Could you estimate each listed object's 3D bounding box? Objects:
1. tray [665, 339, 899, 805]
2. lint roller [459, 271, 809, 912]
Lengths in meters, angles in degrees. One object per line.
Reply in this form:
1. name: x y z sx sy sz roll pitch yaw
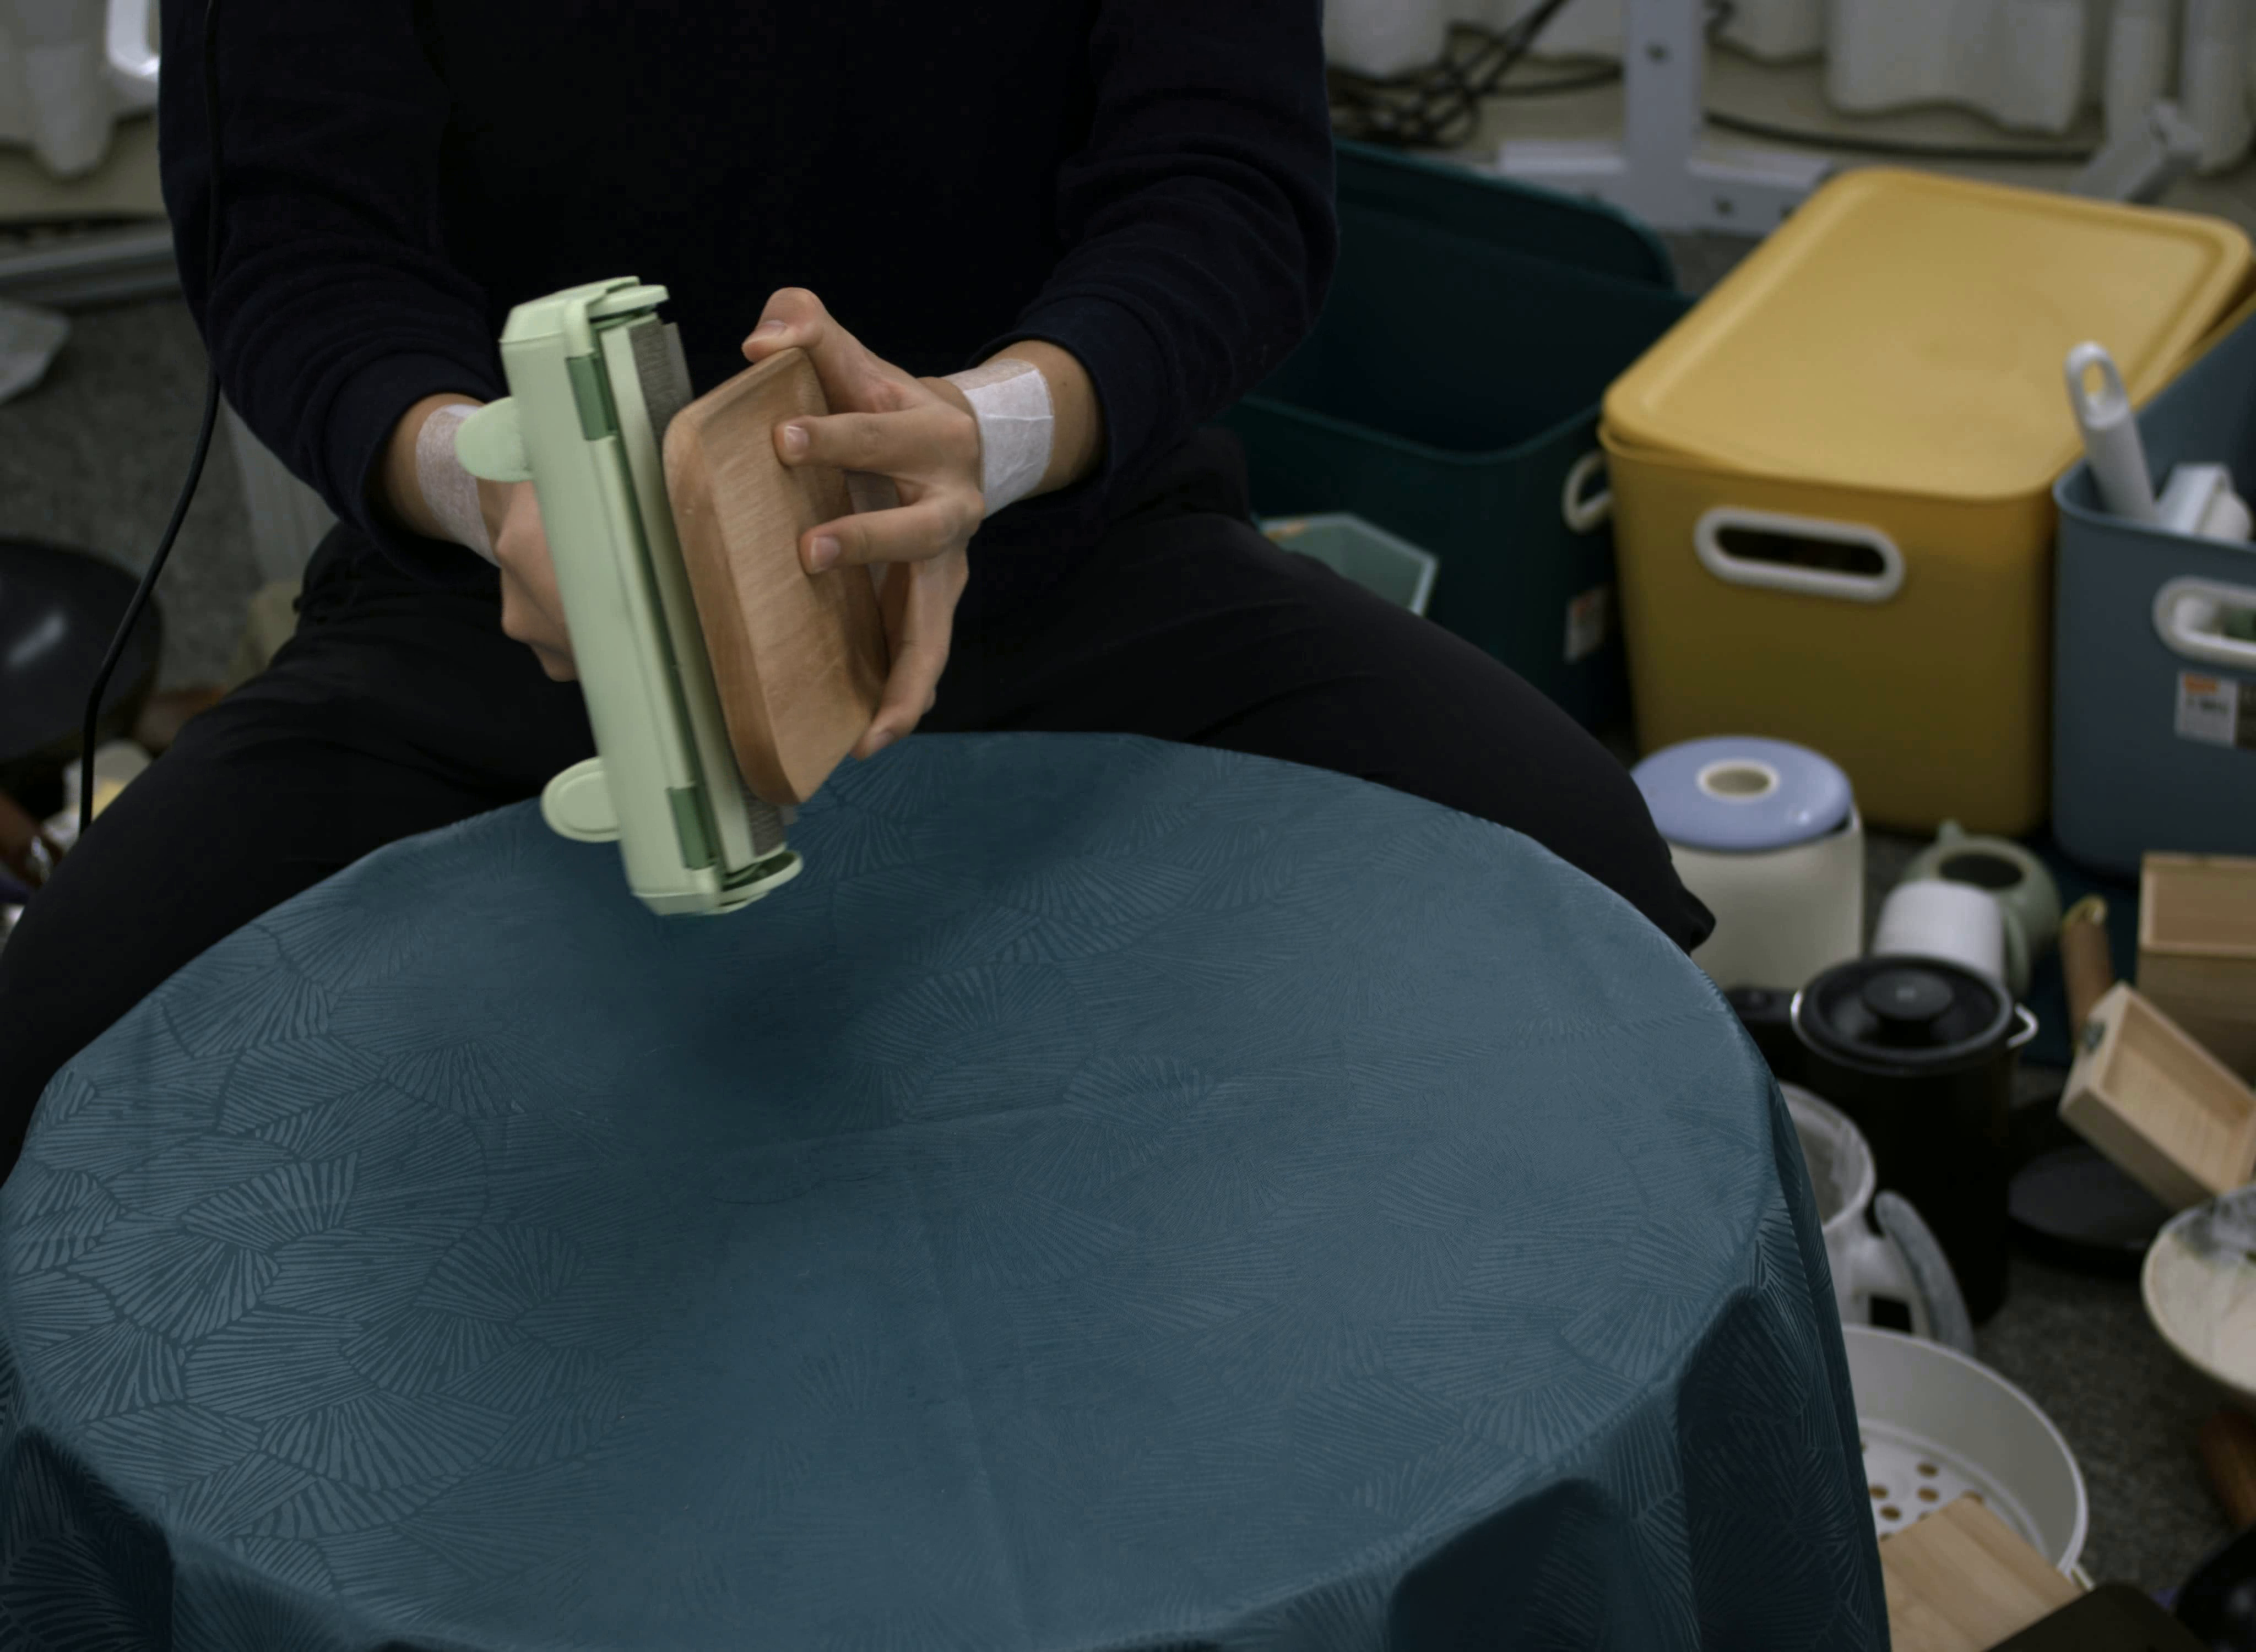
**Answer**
1. tray: -0.109 -0.084 1.803 0.023 0.130 0.252 -11 7 6
2. lint roller: -0.170 -0.075 1.806 0.082 0.198 0.183 -15 7 -17
